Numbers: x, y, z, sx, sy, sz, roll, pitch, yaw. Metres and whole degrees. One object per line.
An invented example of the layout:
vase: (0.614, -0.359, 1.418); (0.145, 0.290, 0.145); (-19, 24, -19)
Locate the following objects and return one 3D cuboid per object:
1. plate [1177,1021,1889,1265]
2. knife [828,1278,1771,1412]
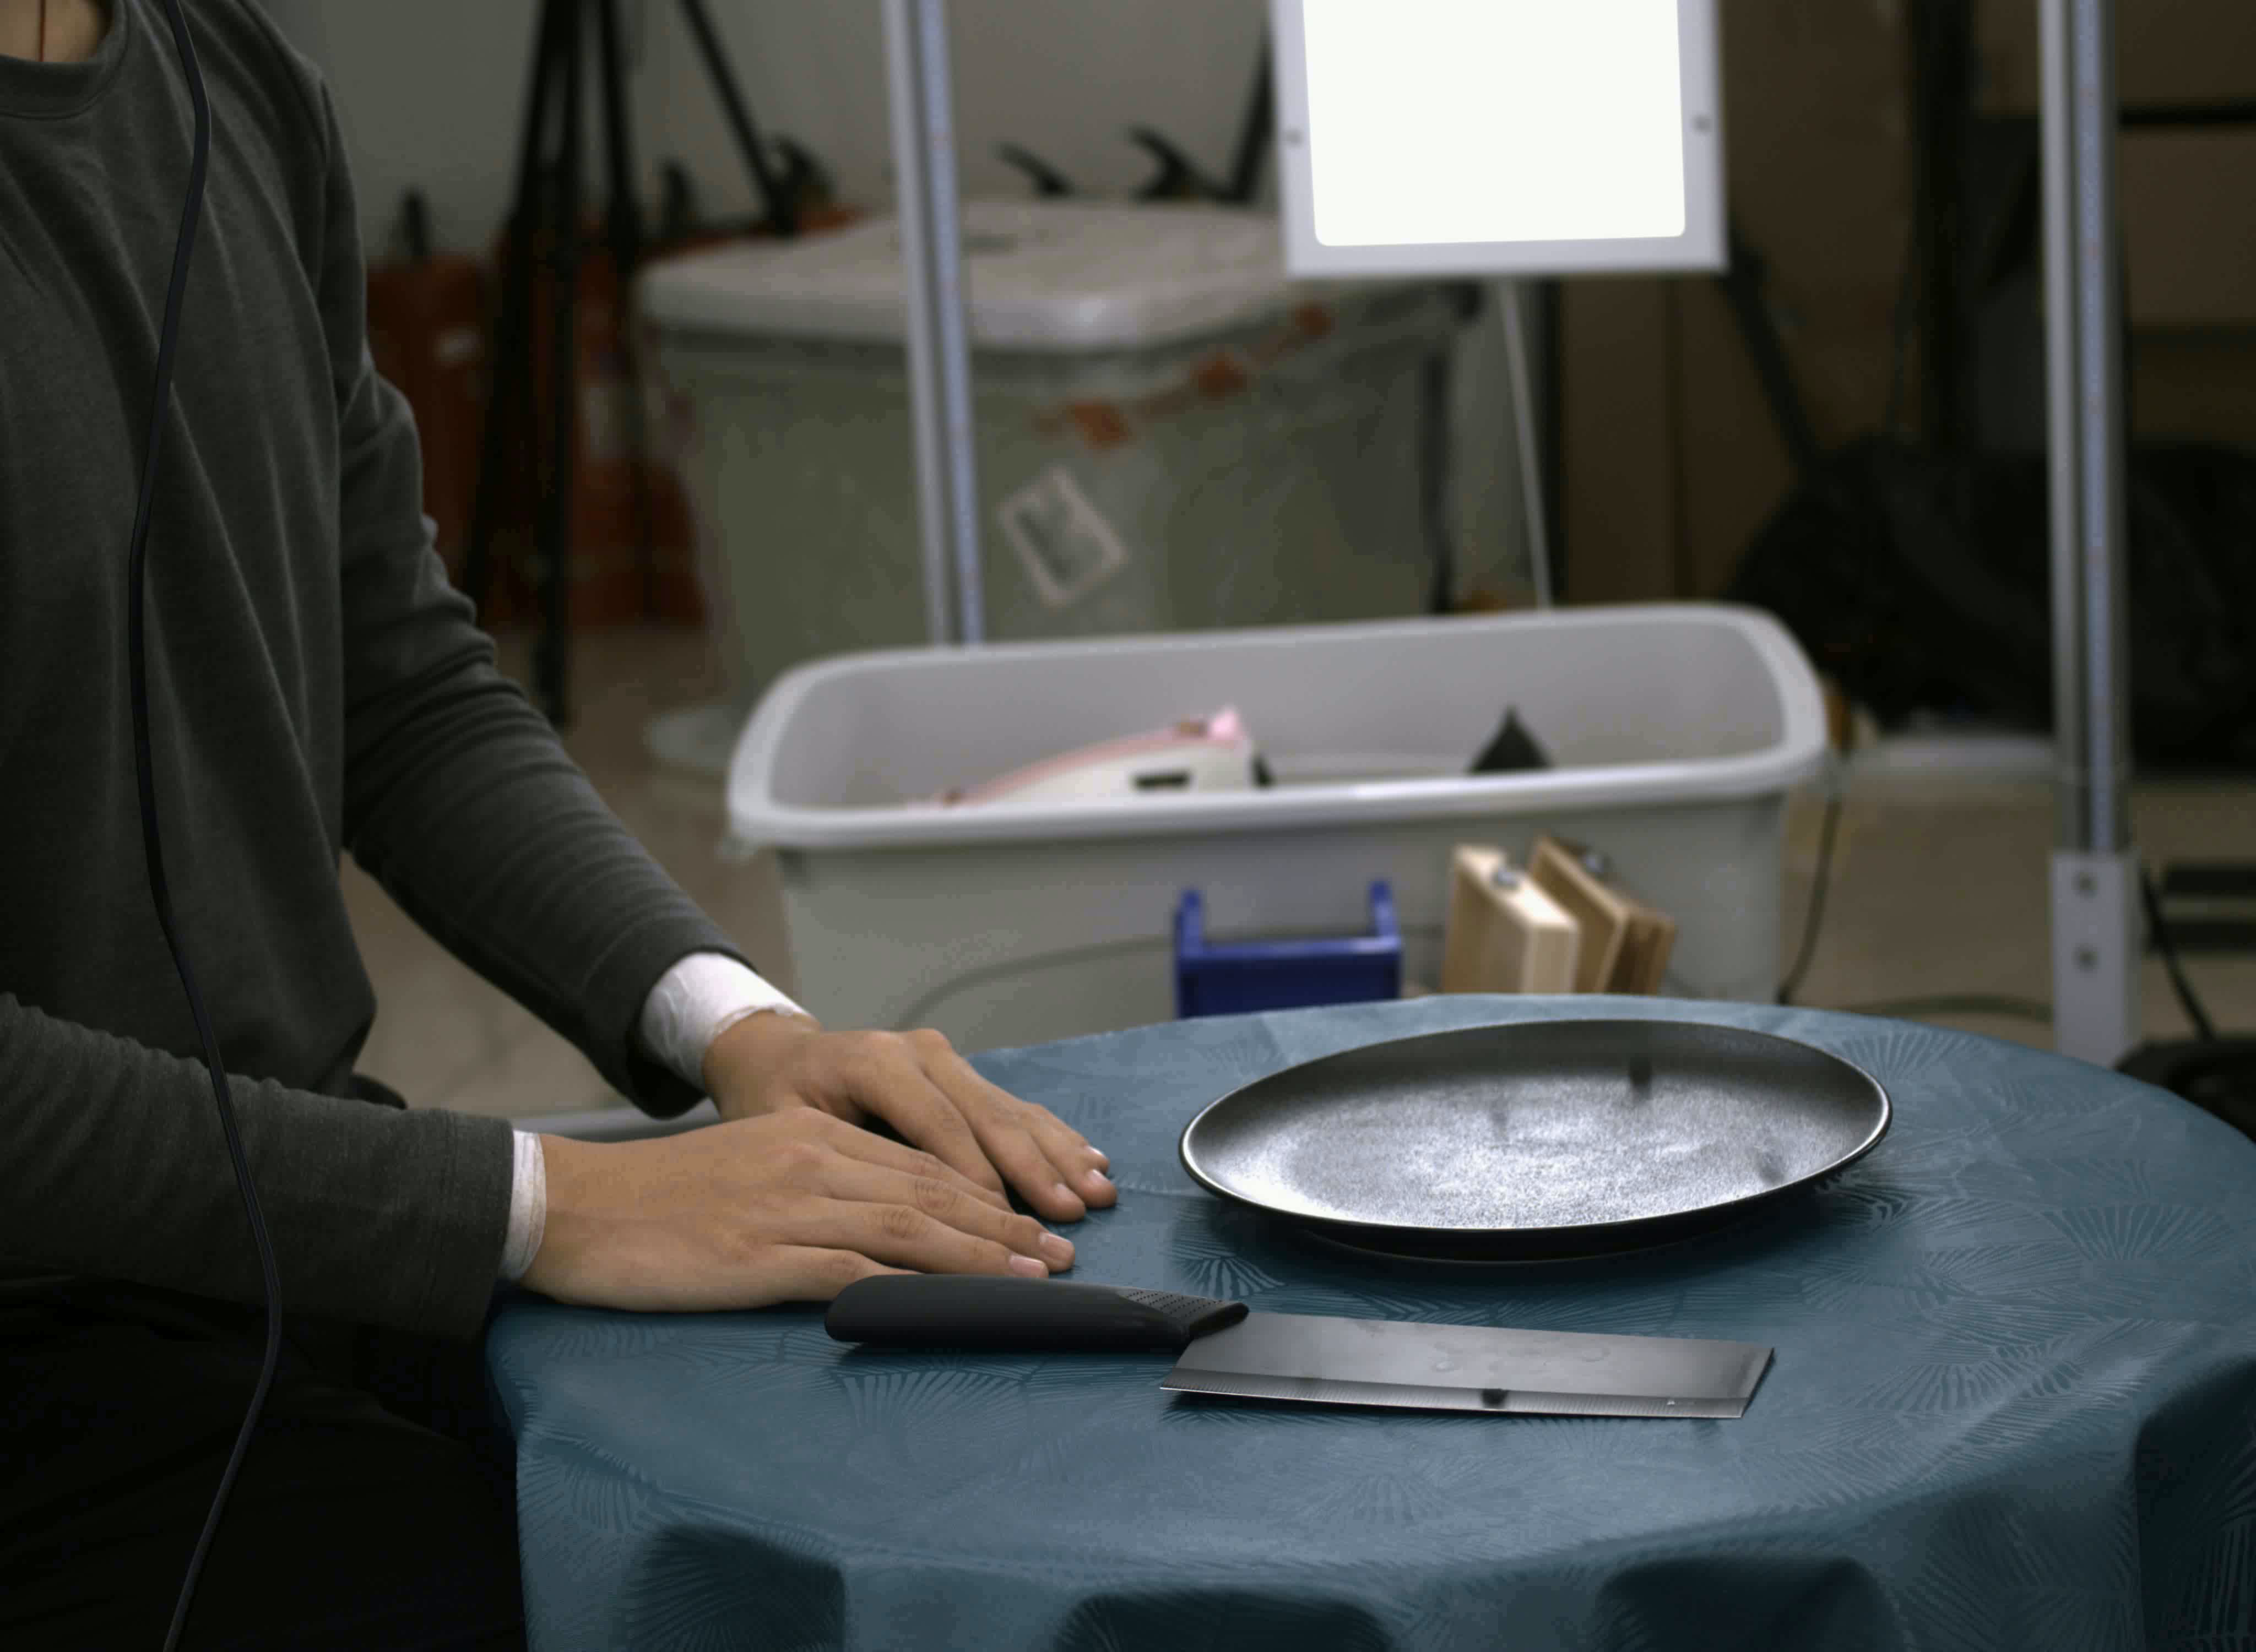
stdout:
plate: (0.139, 0.110, 1.872); (0.244, 0.023, 0.244); (-5, 14, 0)
knife: (0.049, 0.163, 1.709); (0.307, 0.021, 0.079); (2, 16, 23)
